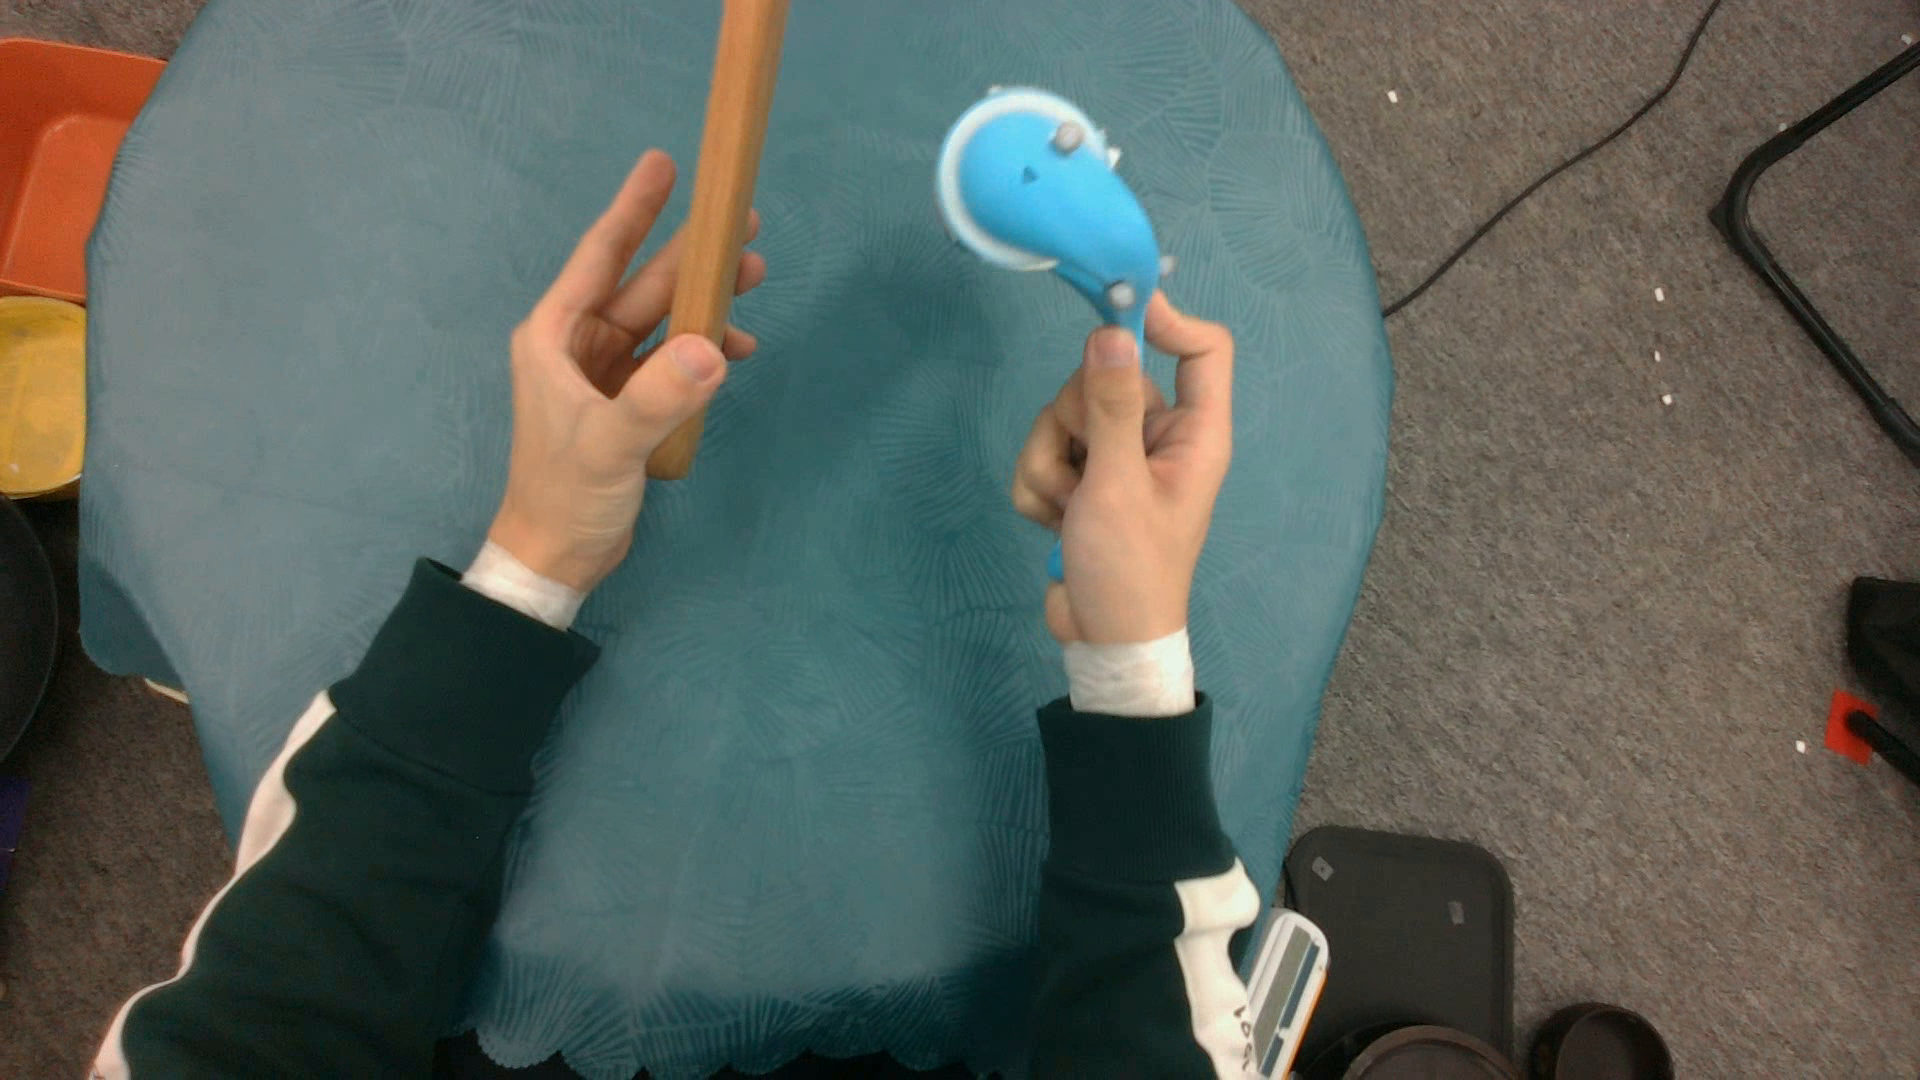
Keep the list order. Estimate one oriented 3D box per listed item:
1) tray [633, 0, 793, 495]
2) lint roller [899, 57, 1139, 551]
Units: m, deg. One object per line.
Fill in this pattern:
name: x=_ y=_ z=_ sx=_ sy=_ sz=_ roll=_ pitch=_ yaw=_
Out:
tray: x=-0.088 y=-0.122 z=0.504 sx=0.020 sy=0.102 sz=0.230 roll=13 pitch=115 yaw=-8
lint roller: x=0.028 y=-0.088 z=0.521 sx=0.068 sy=0.229 sz=0.180 roll=-21 pitch=107 yaw=0
